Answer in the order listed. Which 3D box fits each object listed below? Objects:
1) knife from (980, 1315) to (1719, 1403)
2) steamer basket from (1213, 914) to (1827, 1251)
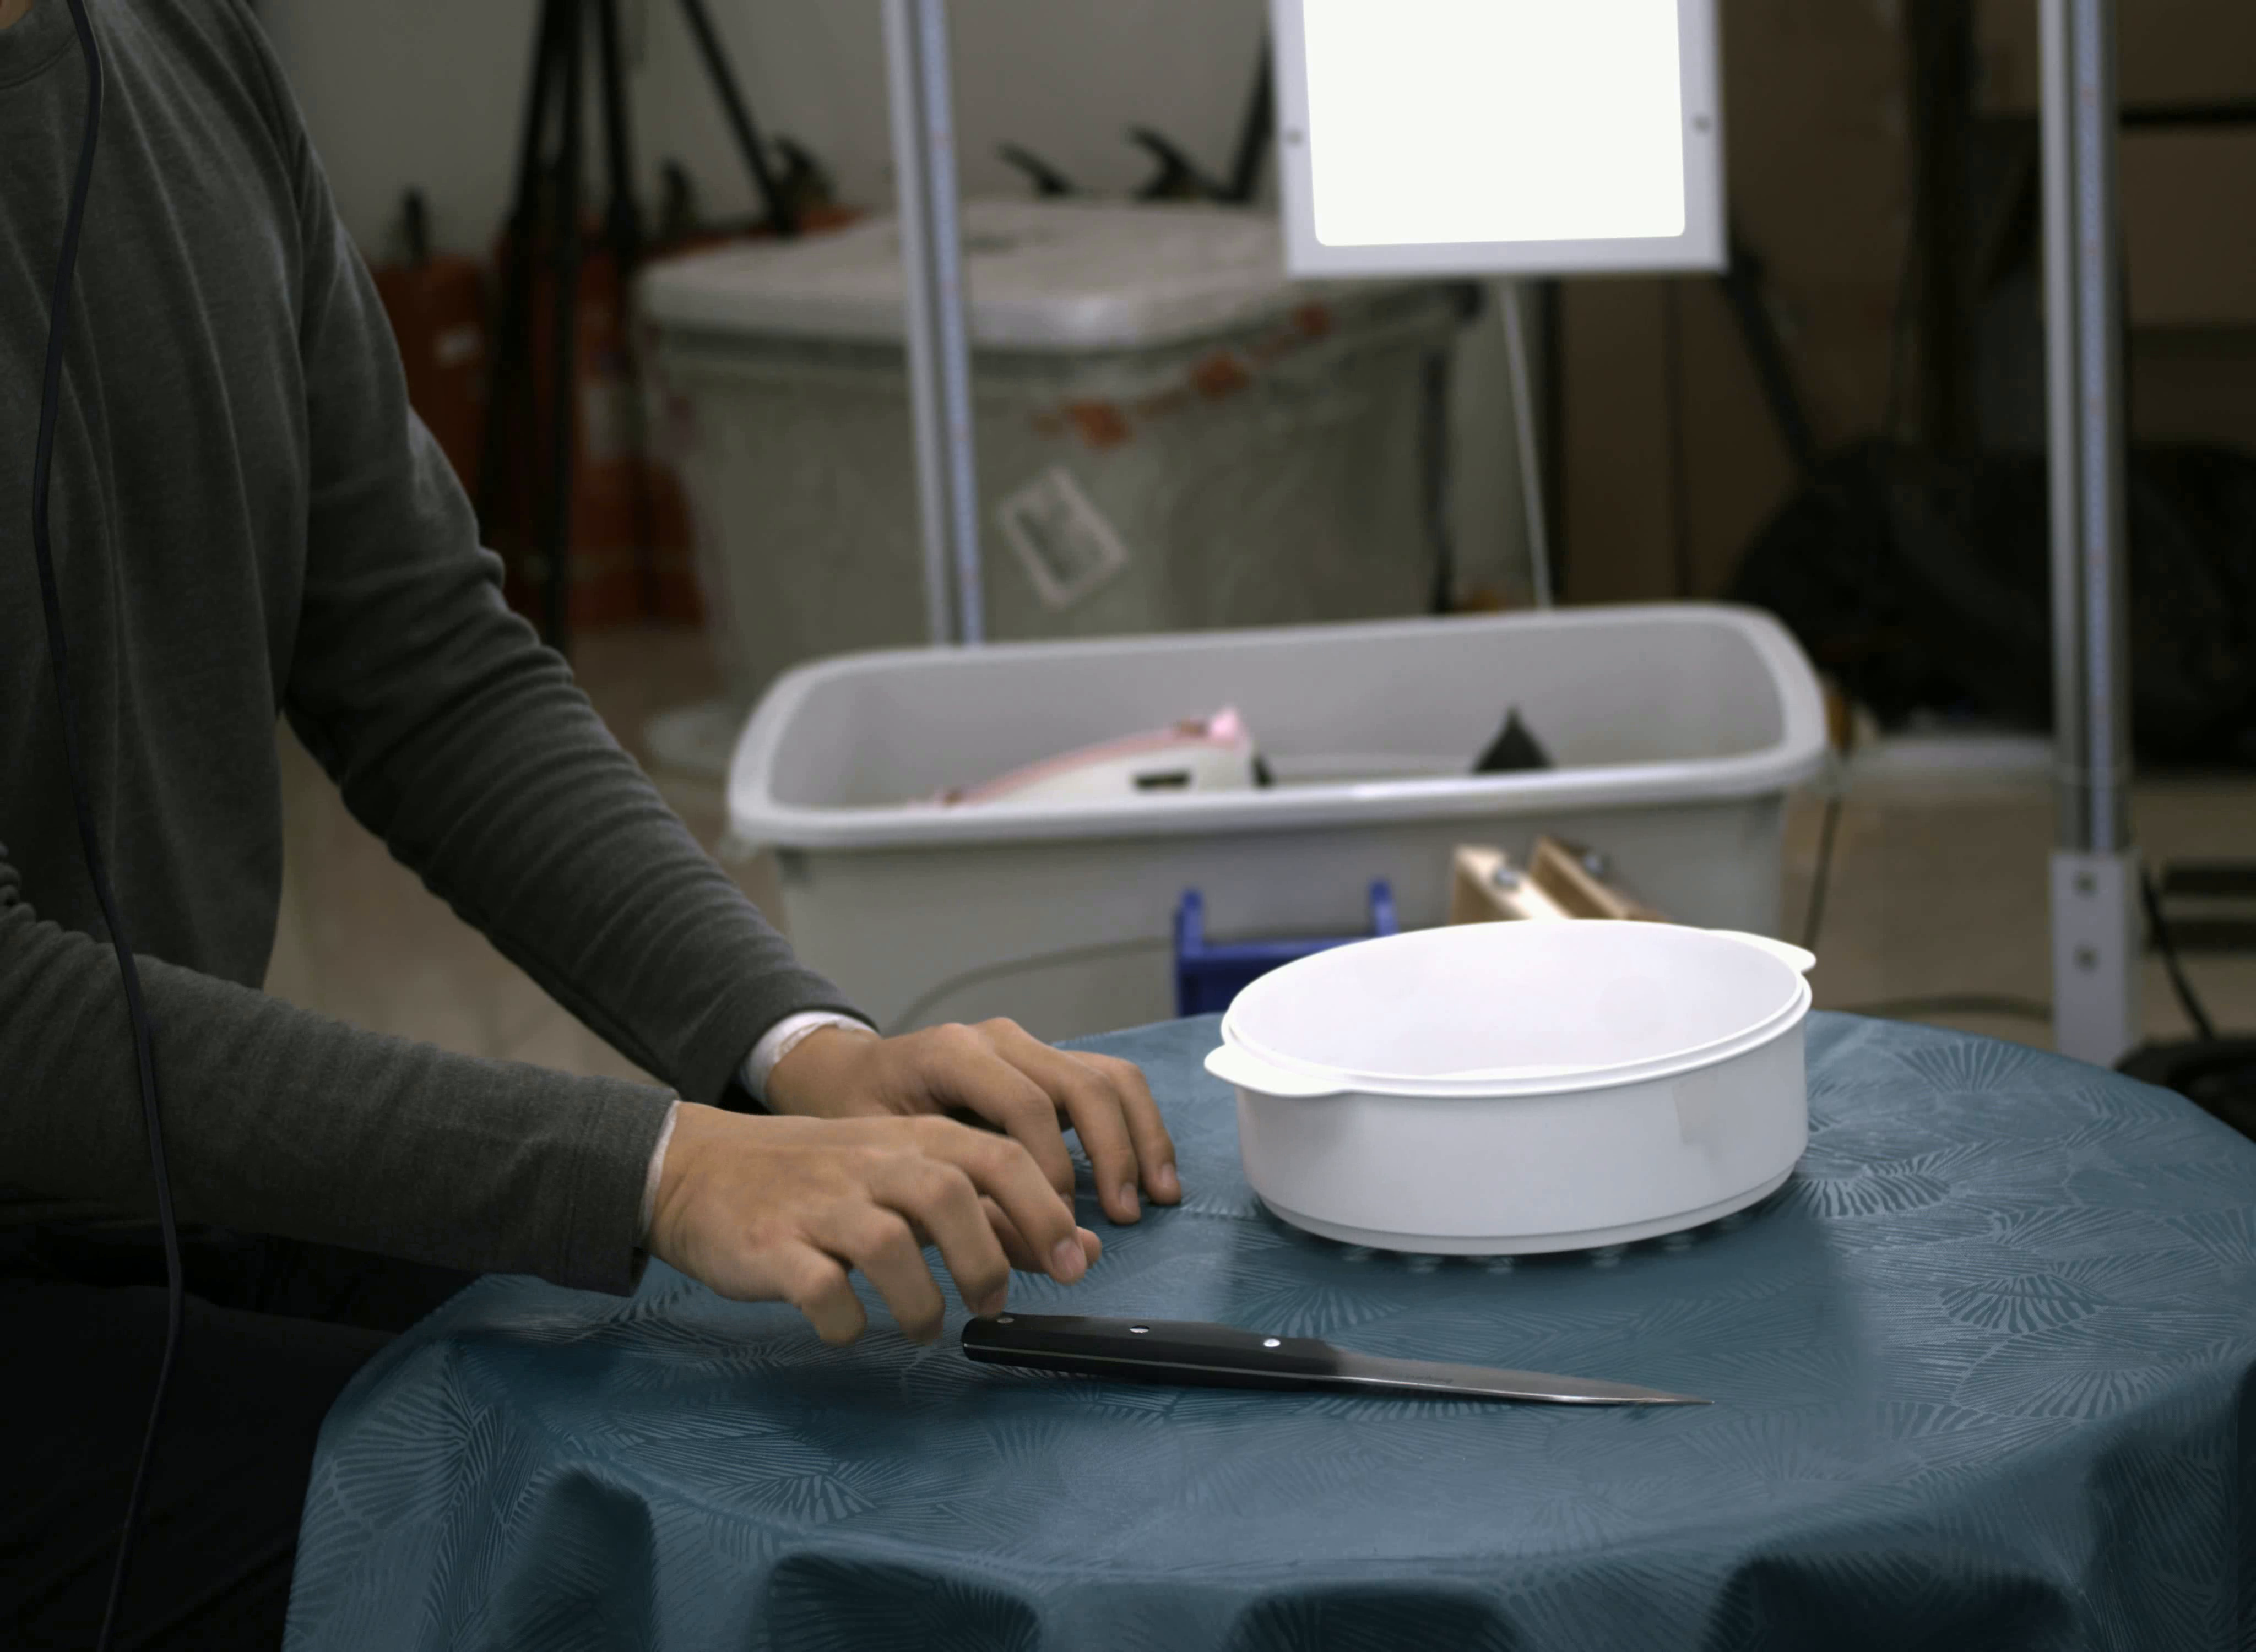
[{"bbox_3d":[0.065,0.167,1.690,0.241,0.016,0.024,3,17,20],"label":"knife"},{"bbox_3d":[0.138,0.087,1.868,0.225,0.069,0.205,-13,15,-27],"label":"steamer basket"}]
